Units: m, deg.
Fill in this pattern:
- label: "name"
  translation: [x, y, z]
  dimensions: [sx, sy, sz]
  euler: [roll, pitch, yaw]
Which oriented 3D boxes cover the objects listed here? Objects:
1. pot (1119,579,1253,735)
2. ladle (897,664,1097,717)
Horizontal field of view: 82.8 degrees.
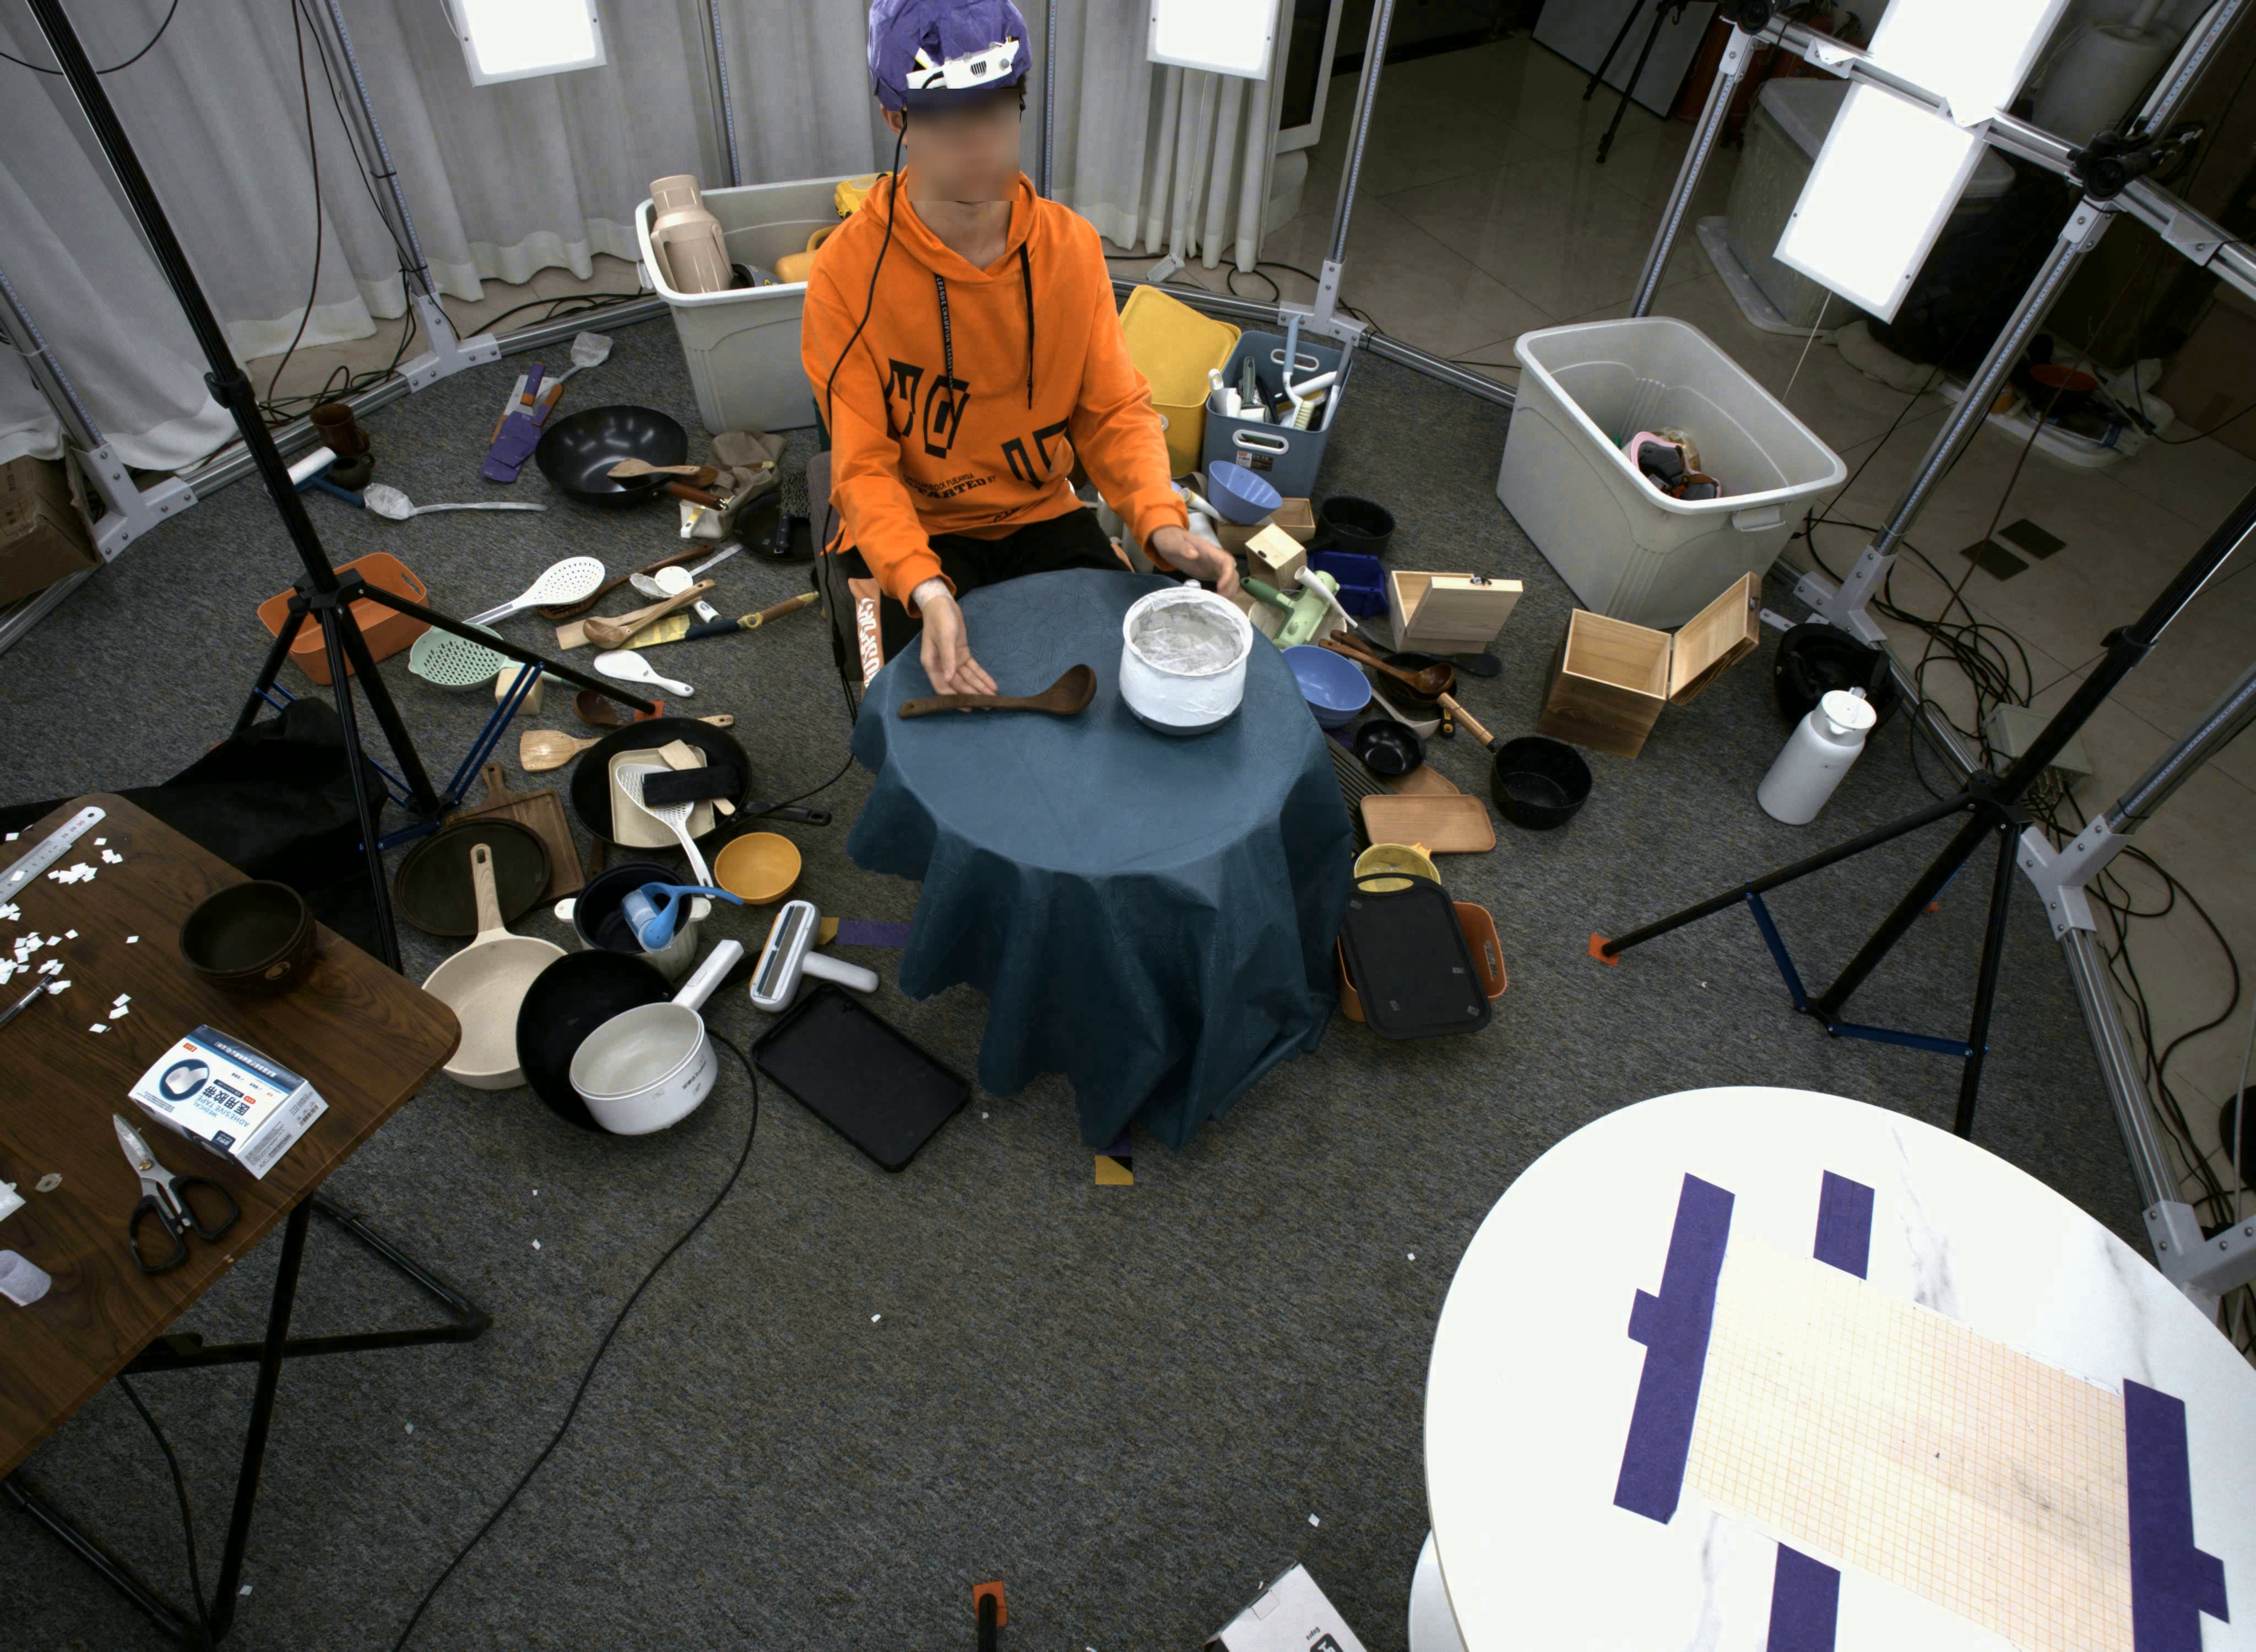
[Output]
- label: "pot"
  translation: [0.079, -0.246, 1.799]
  dimensions: [0.178, 0.133, 0.239]
  euler: [6, 49, 0]
- label: "ladle"
  translation: [-0.180, -0.185, 1.771]
  dimensions: [0.274, 0.069, 0.078]
  euler: [-2, 48, -7]
